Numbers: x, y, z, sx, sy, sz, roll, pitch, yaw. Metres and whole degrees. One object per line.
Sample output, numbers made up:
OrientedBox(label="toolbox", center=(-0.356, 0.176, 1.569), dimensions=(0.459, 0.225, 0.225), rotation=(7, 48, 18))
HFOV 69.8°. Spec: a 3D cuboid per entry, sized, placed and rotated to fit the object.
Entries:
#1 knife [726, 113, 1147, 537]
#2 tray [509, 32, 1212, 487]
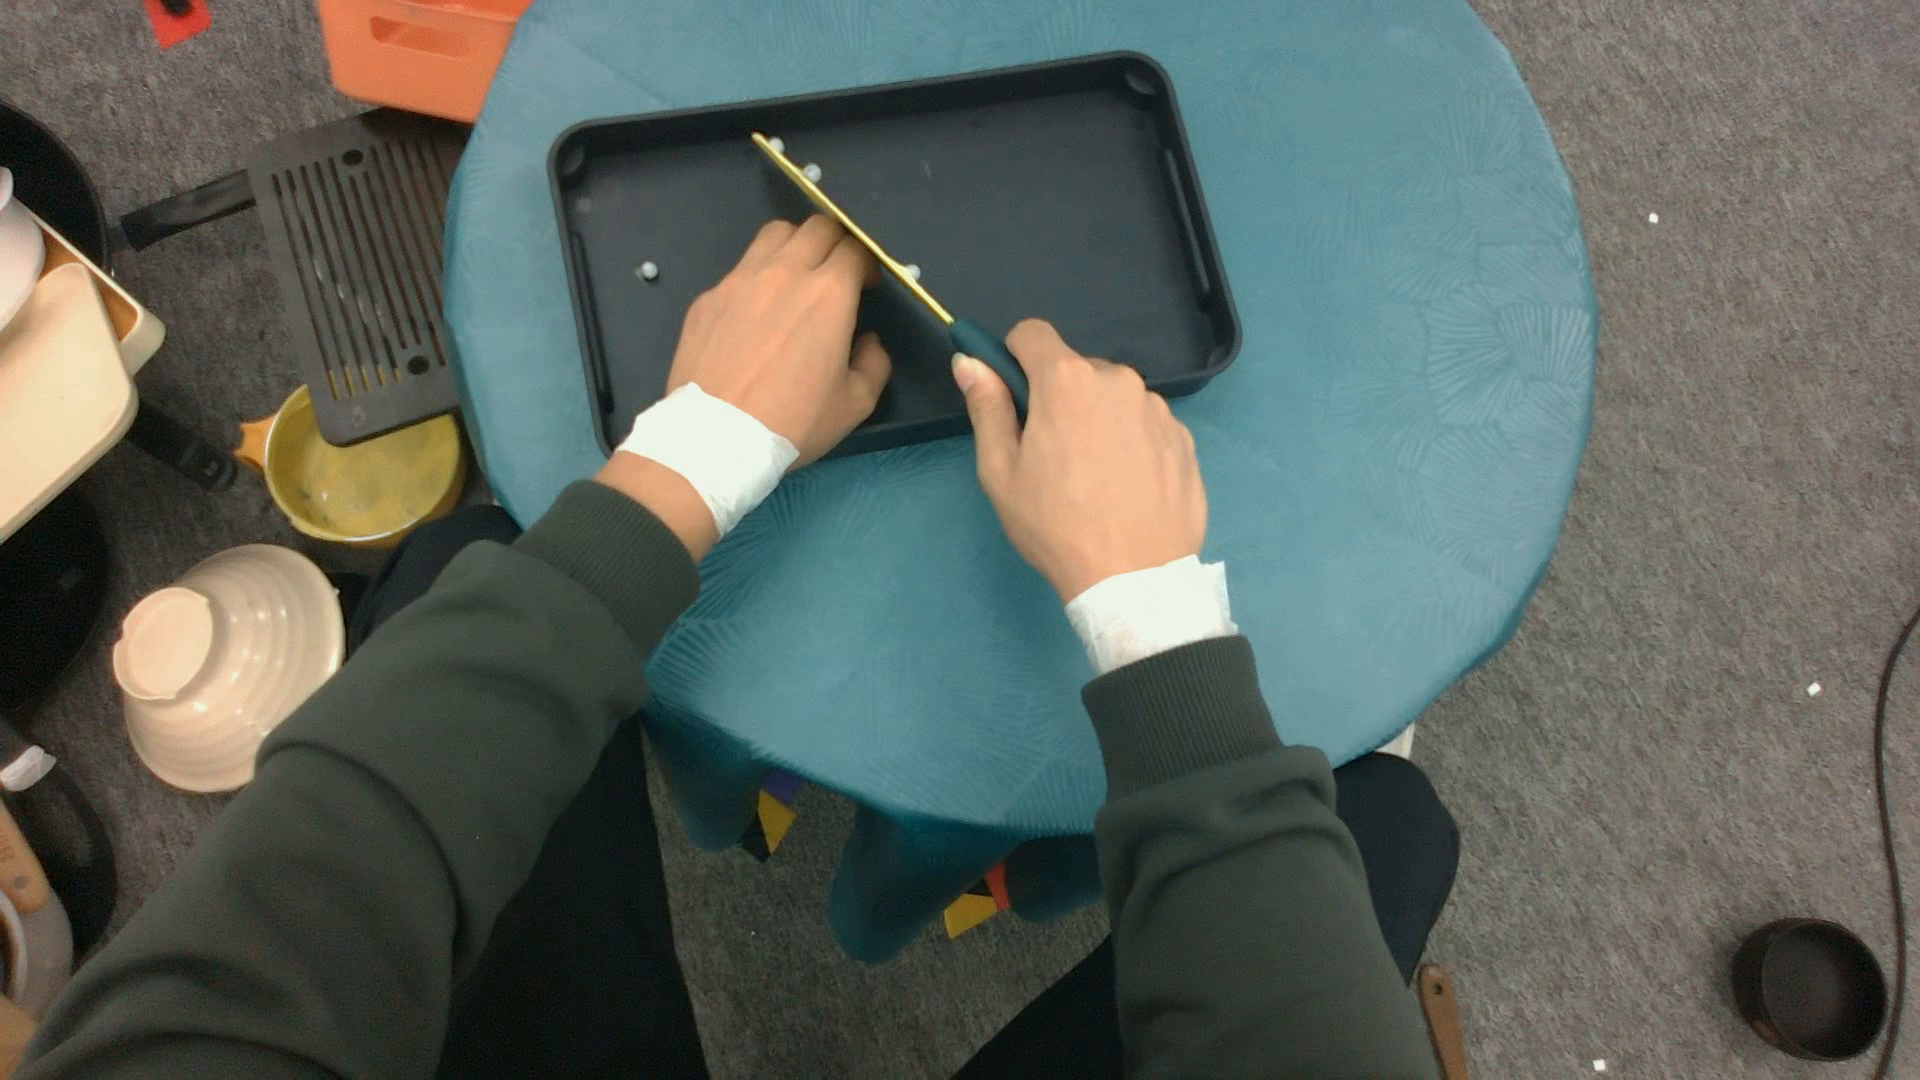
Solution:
OrientedBox(label="knife", center=(-0.017, -0.107, 0.648), dimensions=(0.027, 0.081, 0.289), rotation=(-45, 77, 6))
OrientedBox(label="tray", center=(-0.047, -0.144, 0.686), dimensions=(0.318, 0.037, 0.184), rotation=(-13, 77, -11))
